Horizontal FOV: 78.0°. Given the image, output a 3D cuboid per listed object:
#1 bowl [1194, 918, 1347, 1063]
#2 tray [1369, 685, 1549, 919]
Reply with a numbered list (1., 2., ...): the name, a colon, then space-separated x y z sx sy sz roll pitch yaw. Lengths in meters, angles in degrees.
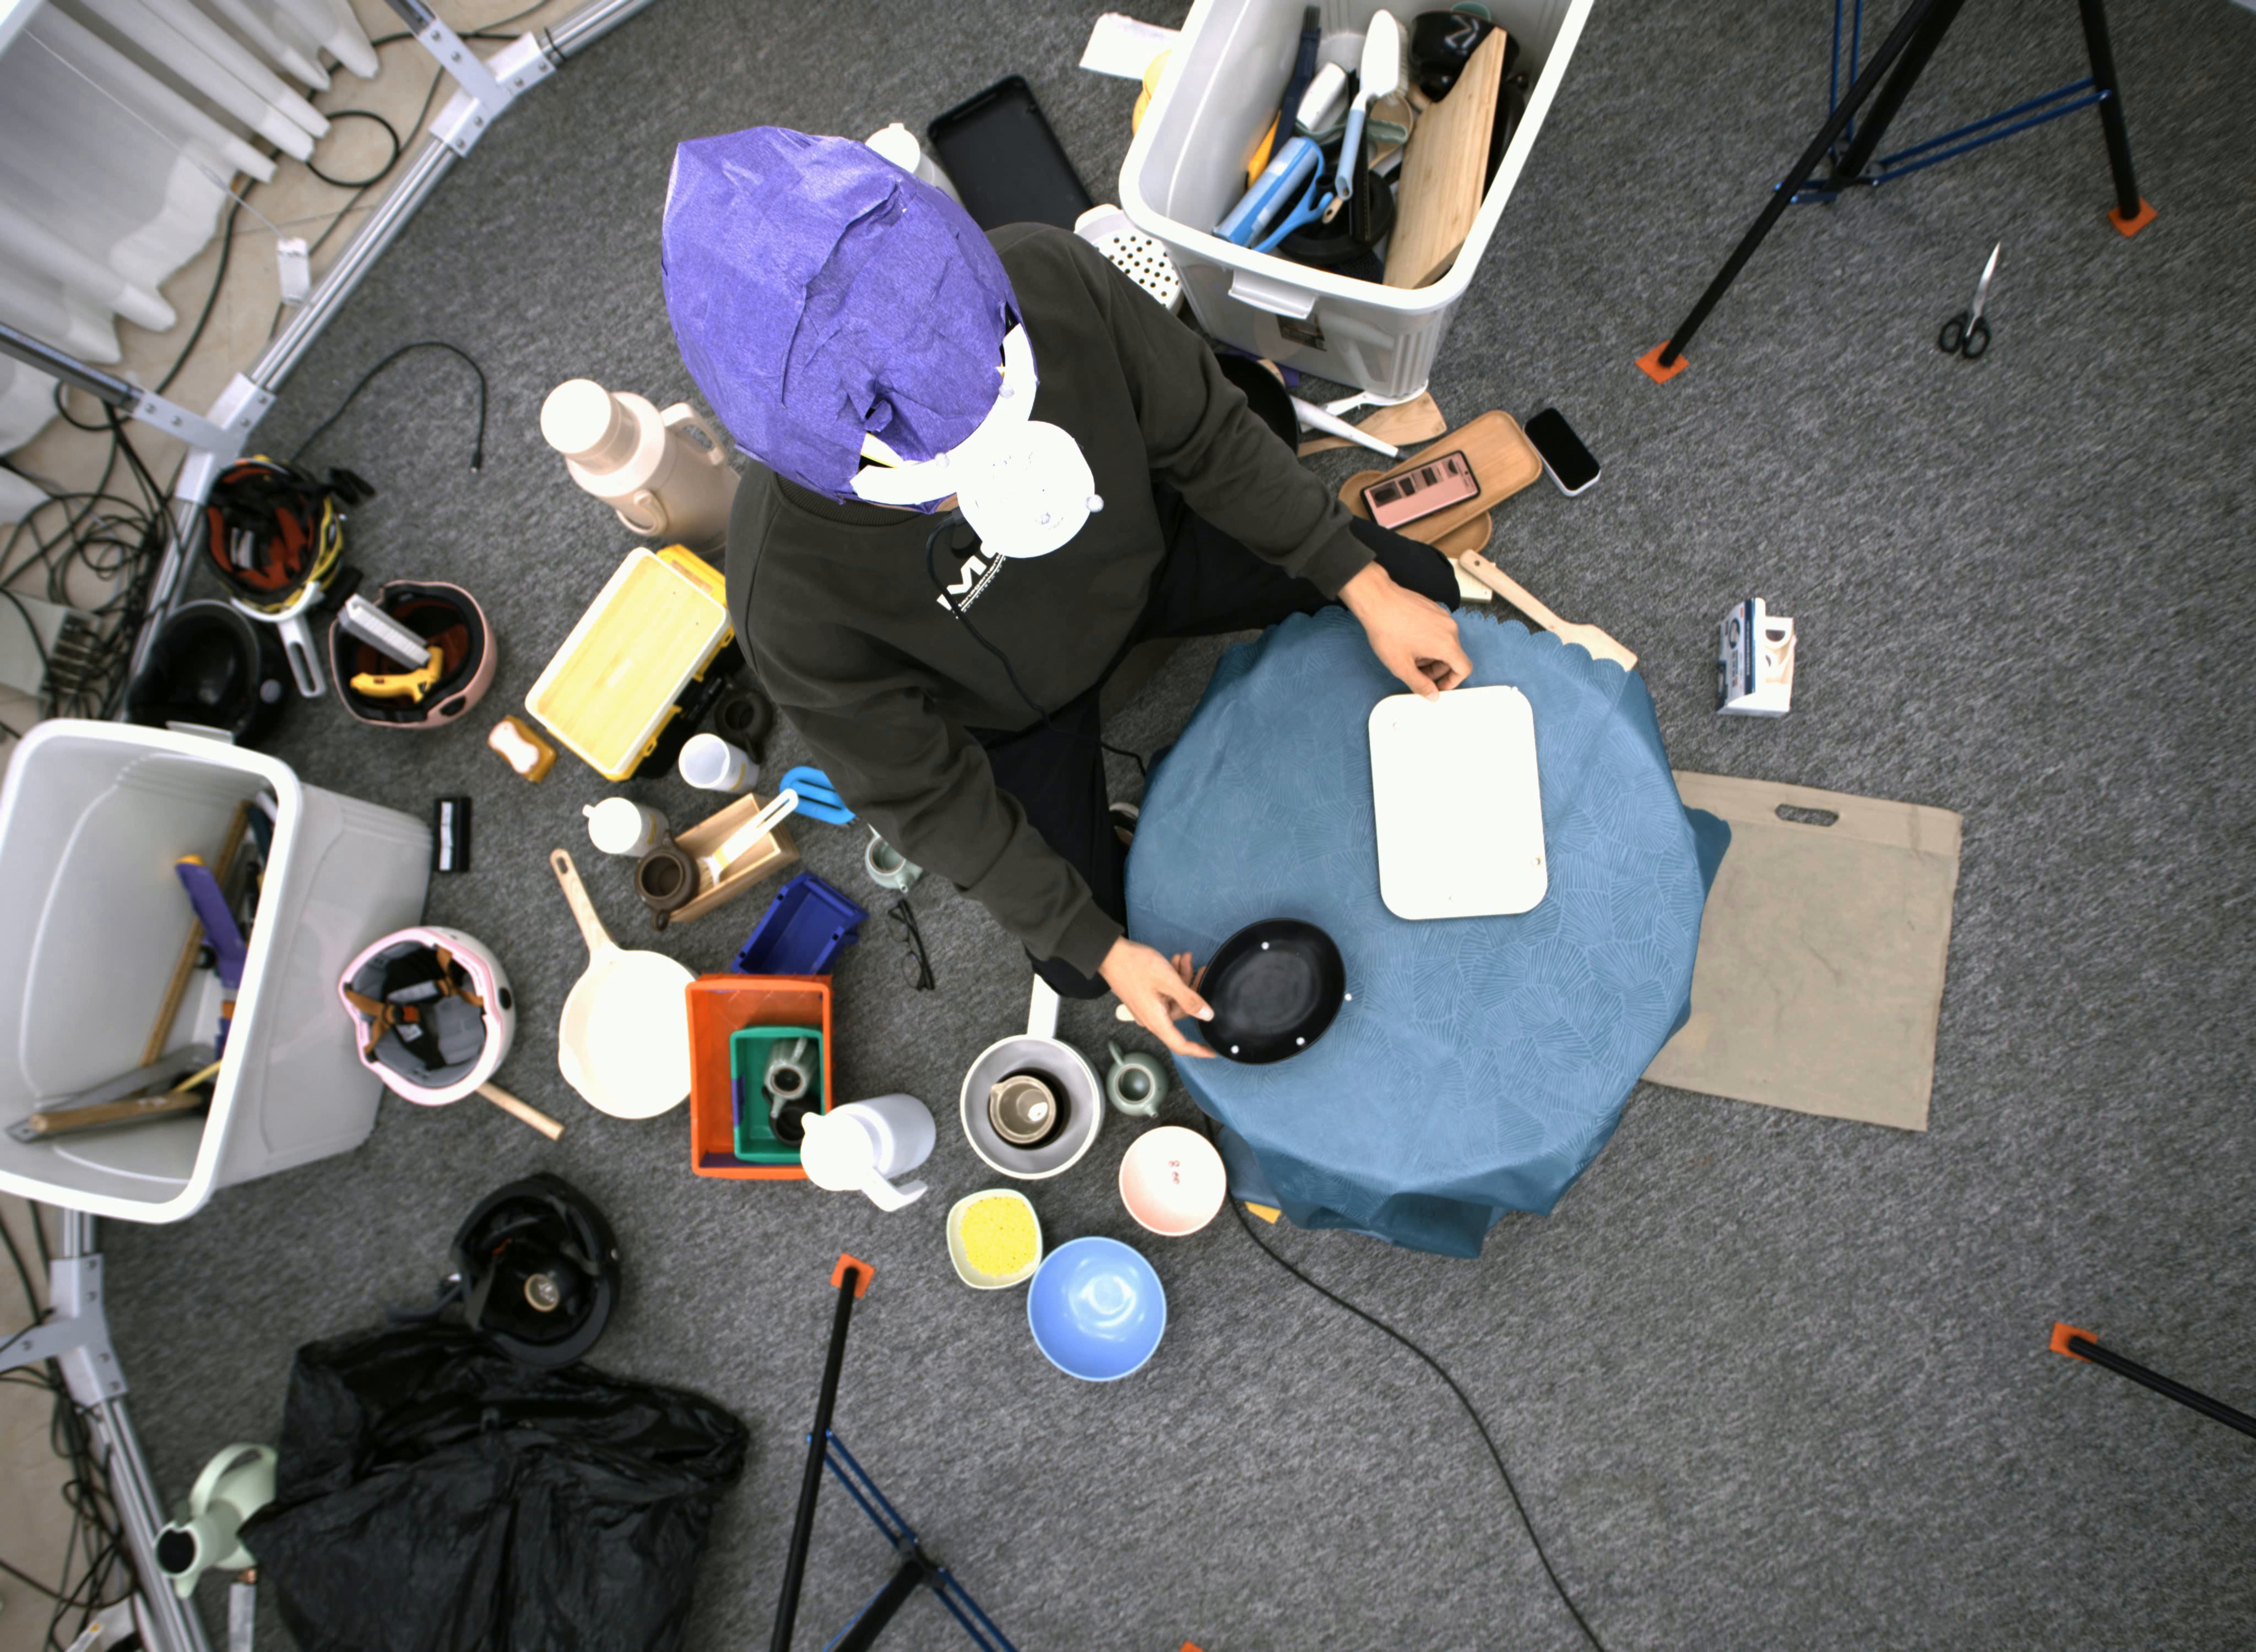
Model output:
1. bowl: 0.150 0.172 1.445 0.171 0.067 0.136 -42 79 7
2. tray: 0.346 -0.027 1.442 0.172 0.017 0.238 -4 86 11
